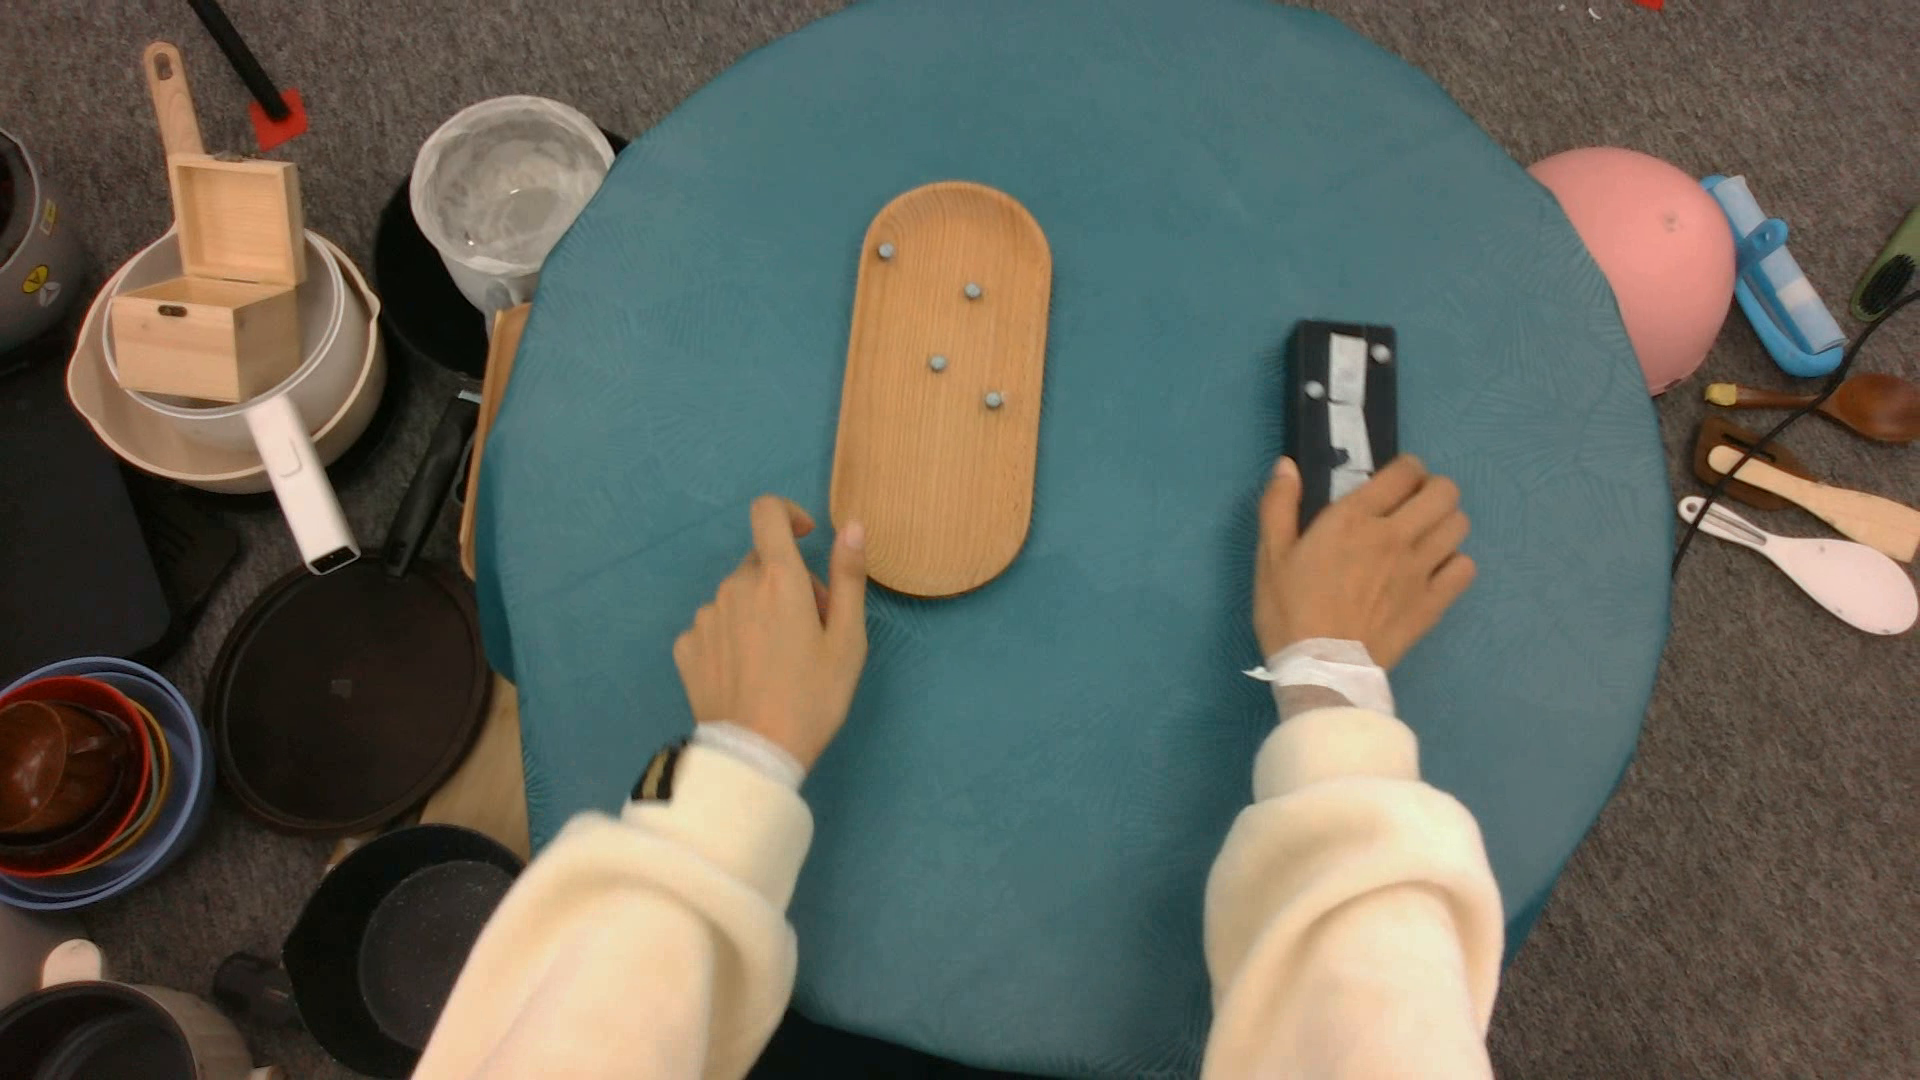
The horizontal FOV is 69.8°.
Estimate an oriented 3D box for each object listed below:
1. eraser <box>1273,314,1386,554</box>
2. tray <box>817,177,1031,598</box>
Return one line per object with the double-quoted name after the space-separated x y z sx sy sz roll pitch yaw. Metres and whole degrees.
0.185 -0.055 0.698 0.053 0.030 0.126 4 69 3 "eraser"
-0.017 -0.082 0.702 0.102 0.020 0.232 4 73 -2 "tray"
